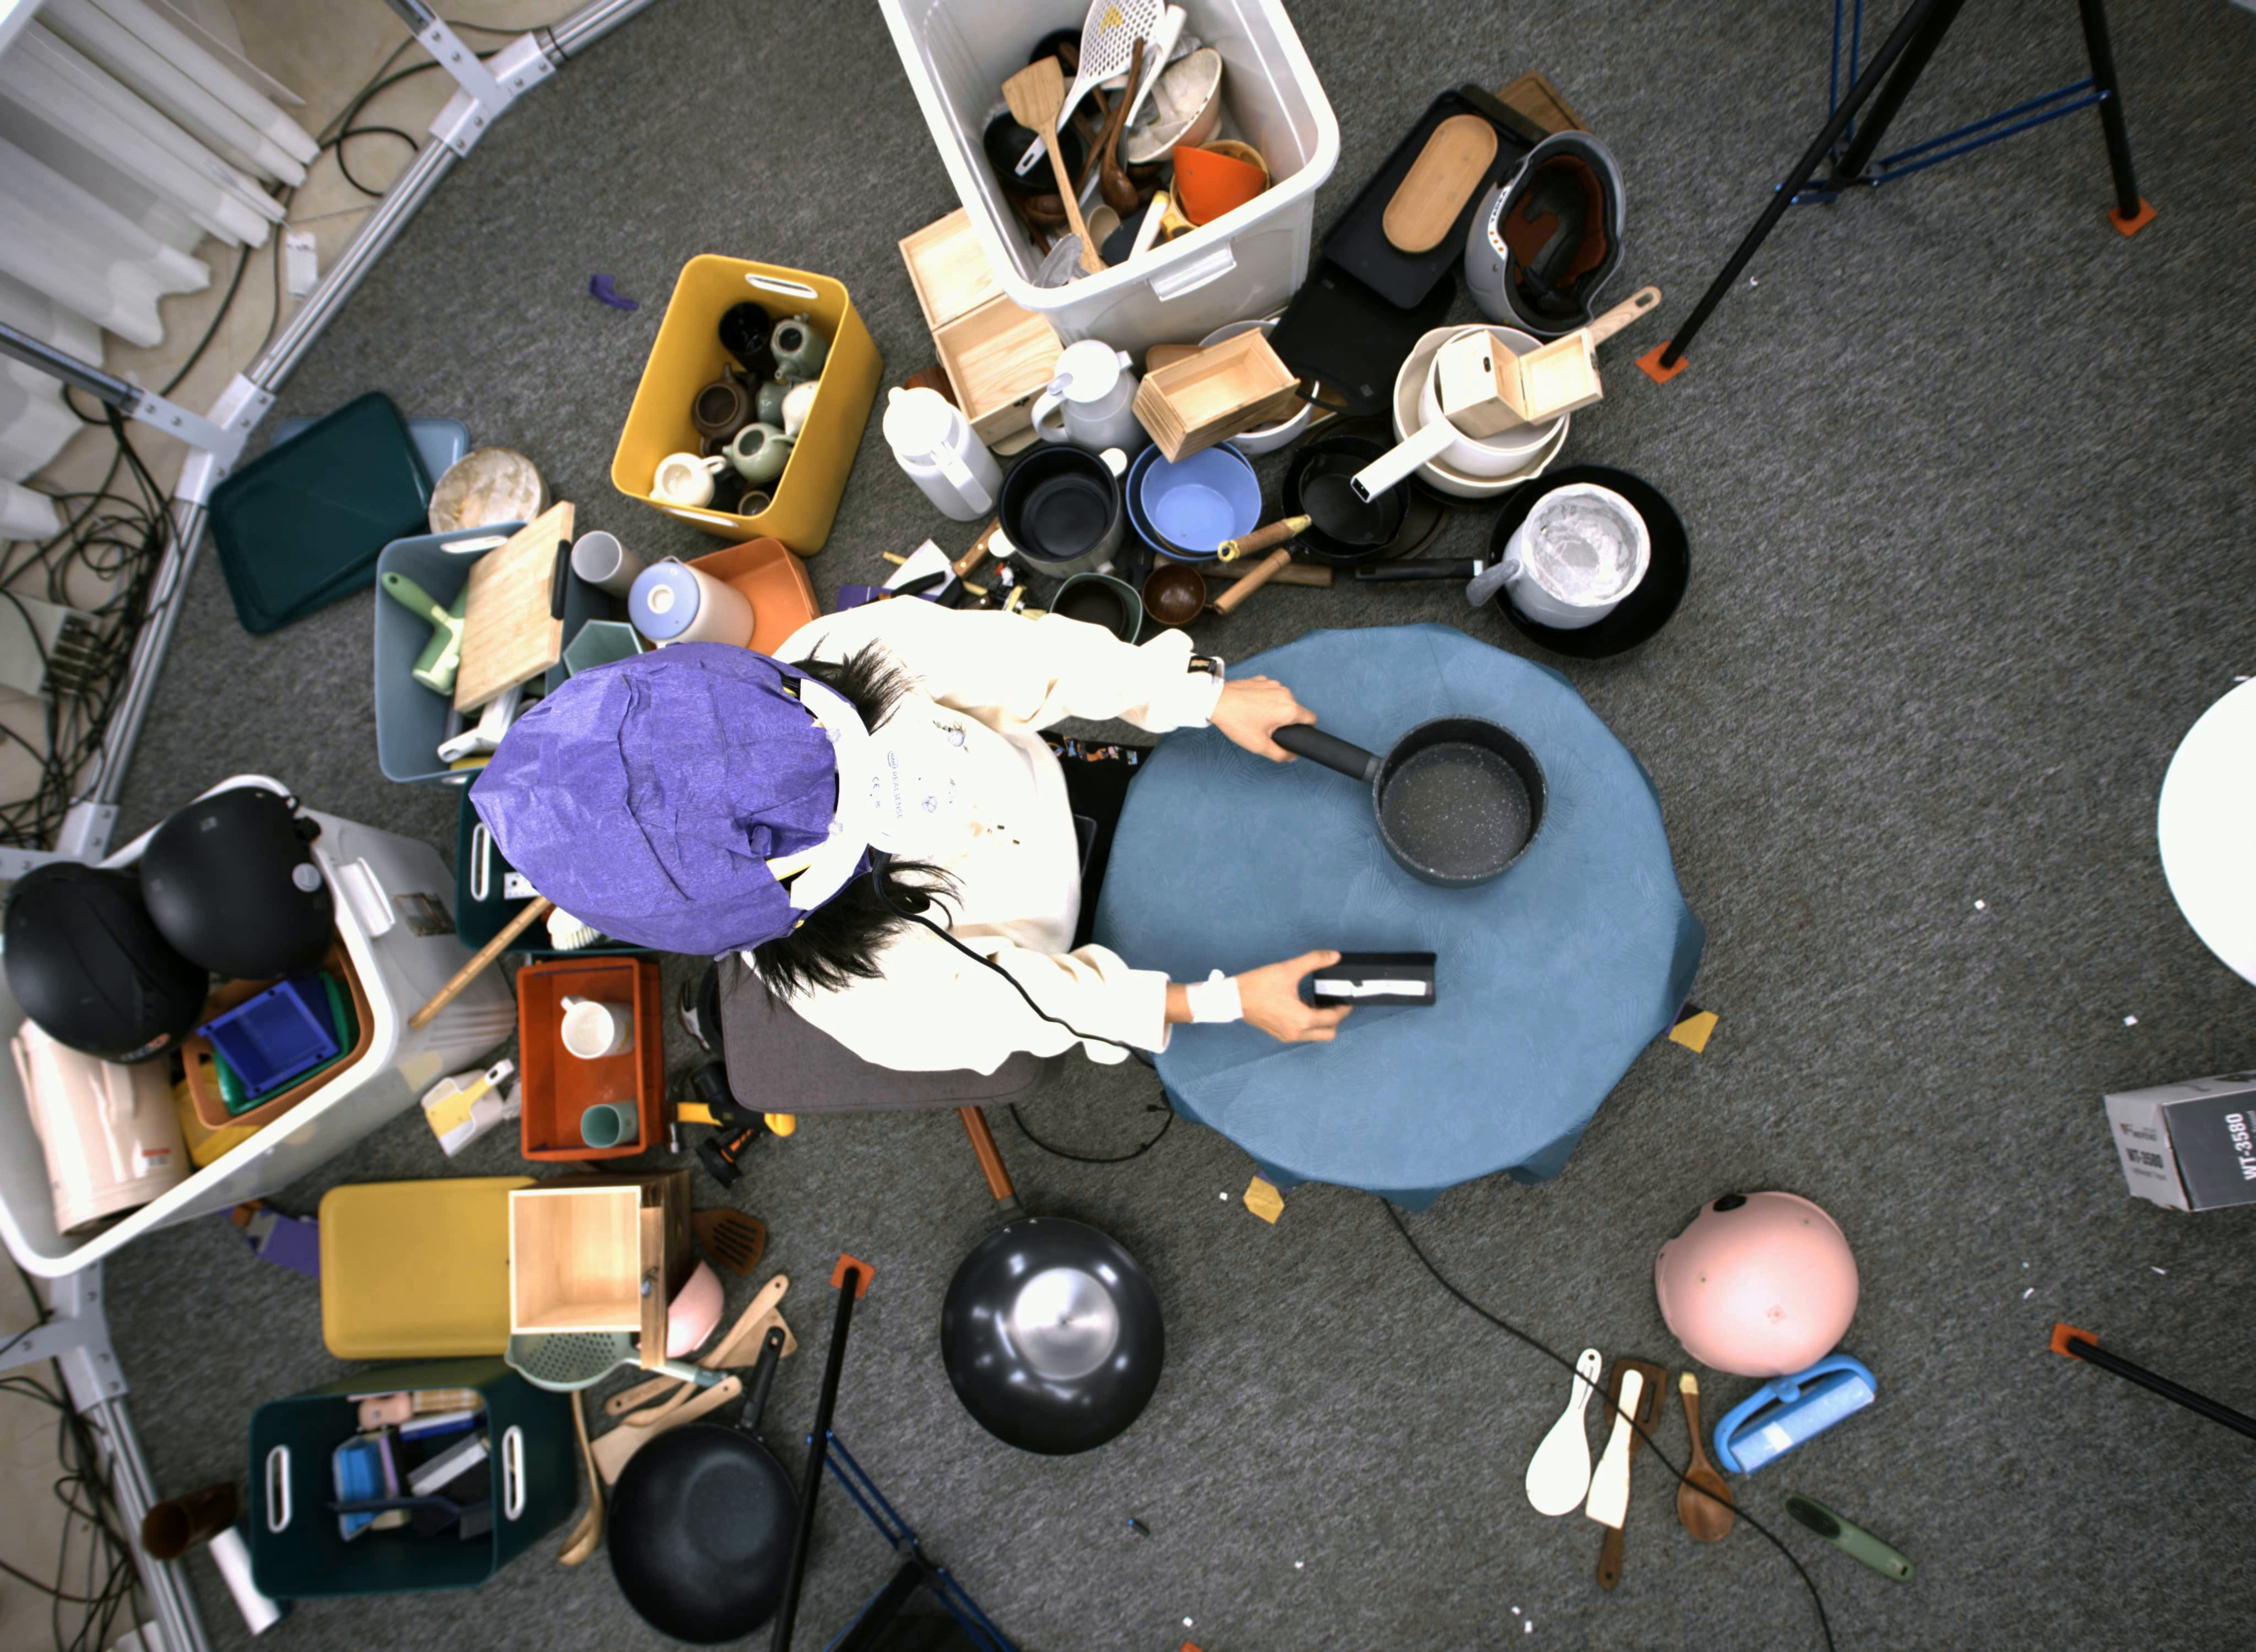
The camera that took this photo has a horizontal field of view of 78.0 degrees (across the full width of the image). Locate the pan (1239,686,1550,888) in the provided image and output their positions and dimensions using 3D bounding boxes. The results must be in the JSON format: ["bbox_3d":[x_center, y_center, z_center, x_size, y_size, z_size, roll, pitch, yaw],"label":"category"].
[{"bbox_3d":[0.268,-0.055,1.421,0.328,0.087,0.171,25,85,11],"label":"pan"}]

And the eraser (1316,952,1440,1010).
[{"bbox_3d":[0.255,0.156,1.412,0.126,0.030,0.054,1,119,11],"label":"eraser"}]
